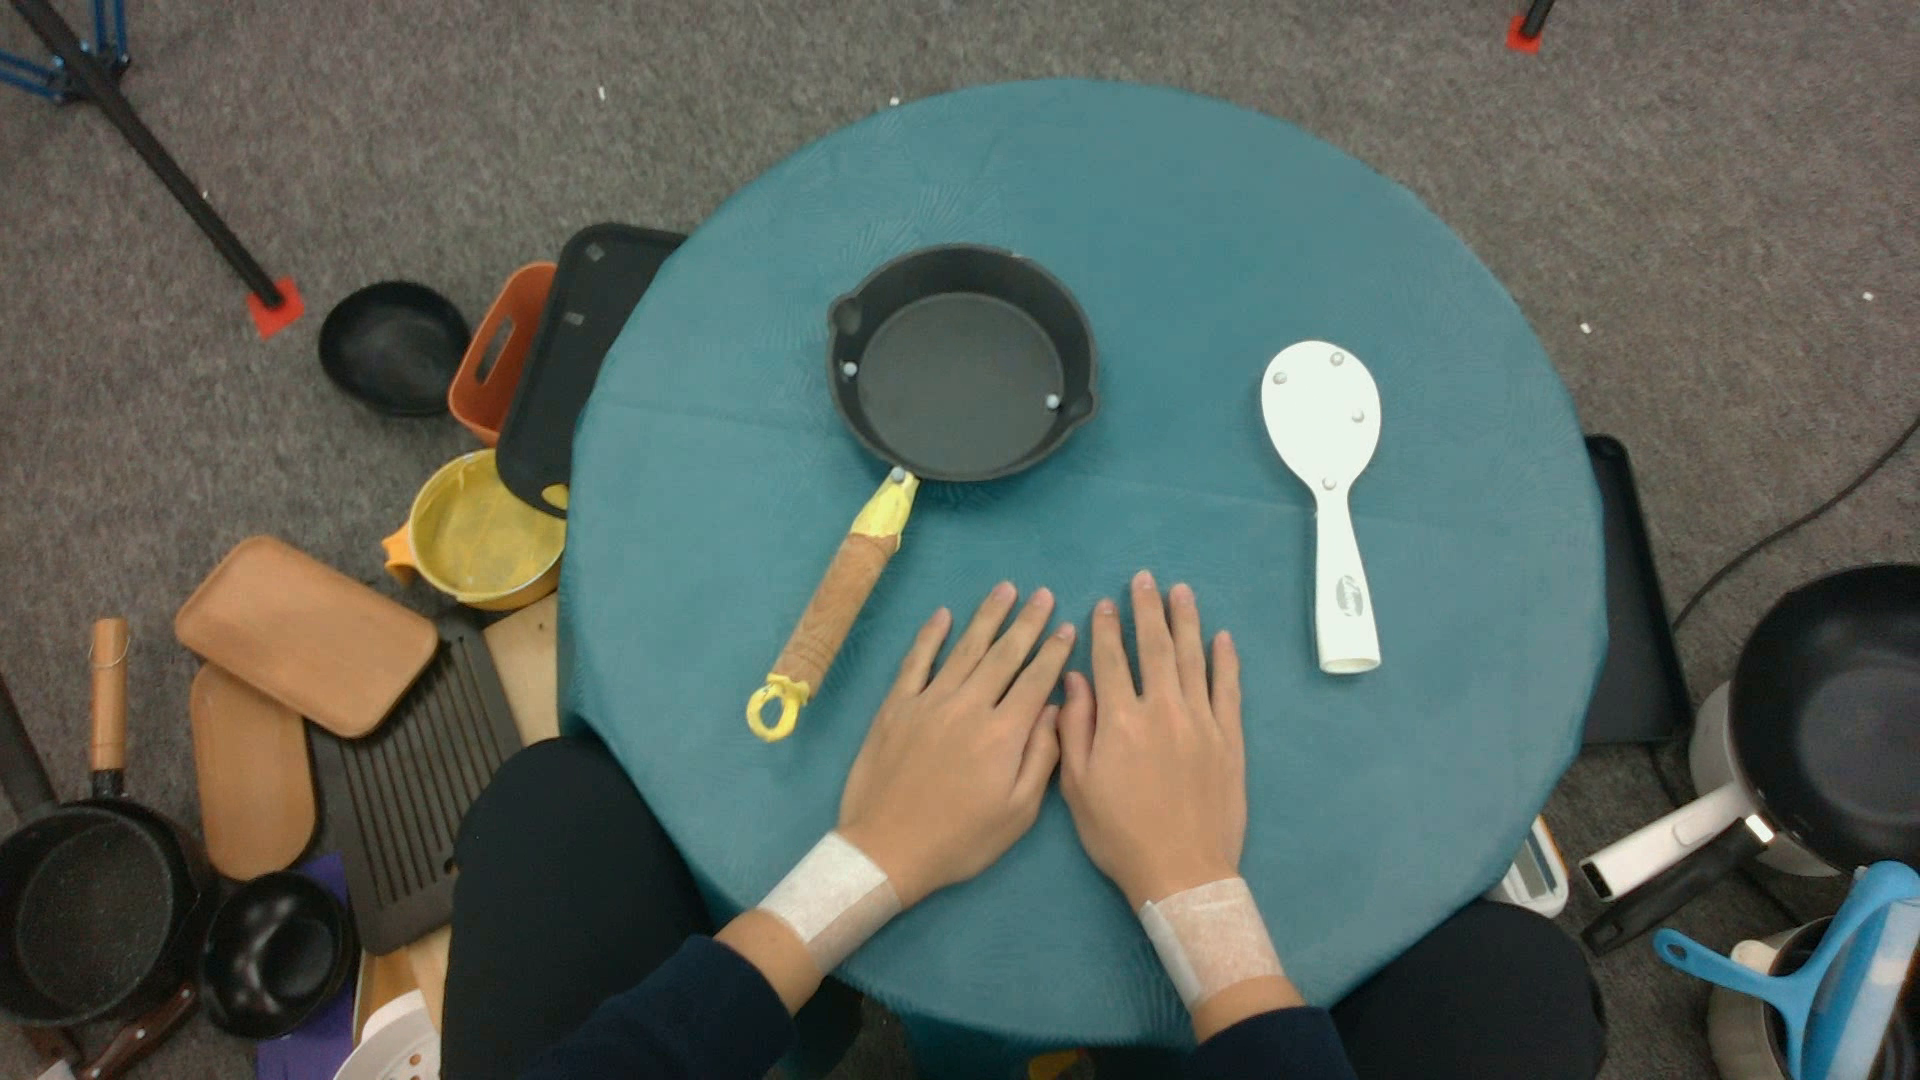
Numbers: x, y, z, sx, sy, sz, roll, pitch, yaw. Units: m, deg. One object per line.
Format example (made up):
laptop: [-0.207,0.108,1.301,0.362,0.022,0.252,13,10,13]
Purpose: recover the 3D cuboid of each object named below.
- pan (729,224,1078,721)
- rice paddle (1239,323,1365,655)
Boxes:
pan: [-0.046,-0.042,0.768,0.169,0.049,0.325,24,67,7]
rice paddle: [0.200,-0.036,0.787,0.069,0.029,0.206,0,68,-5]
